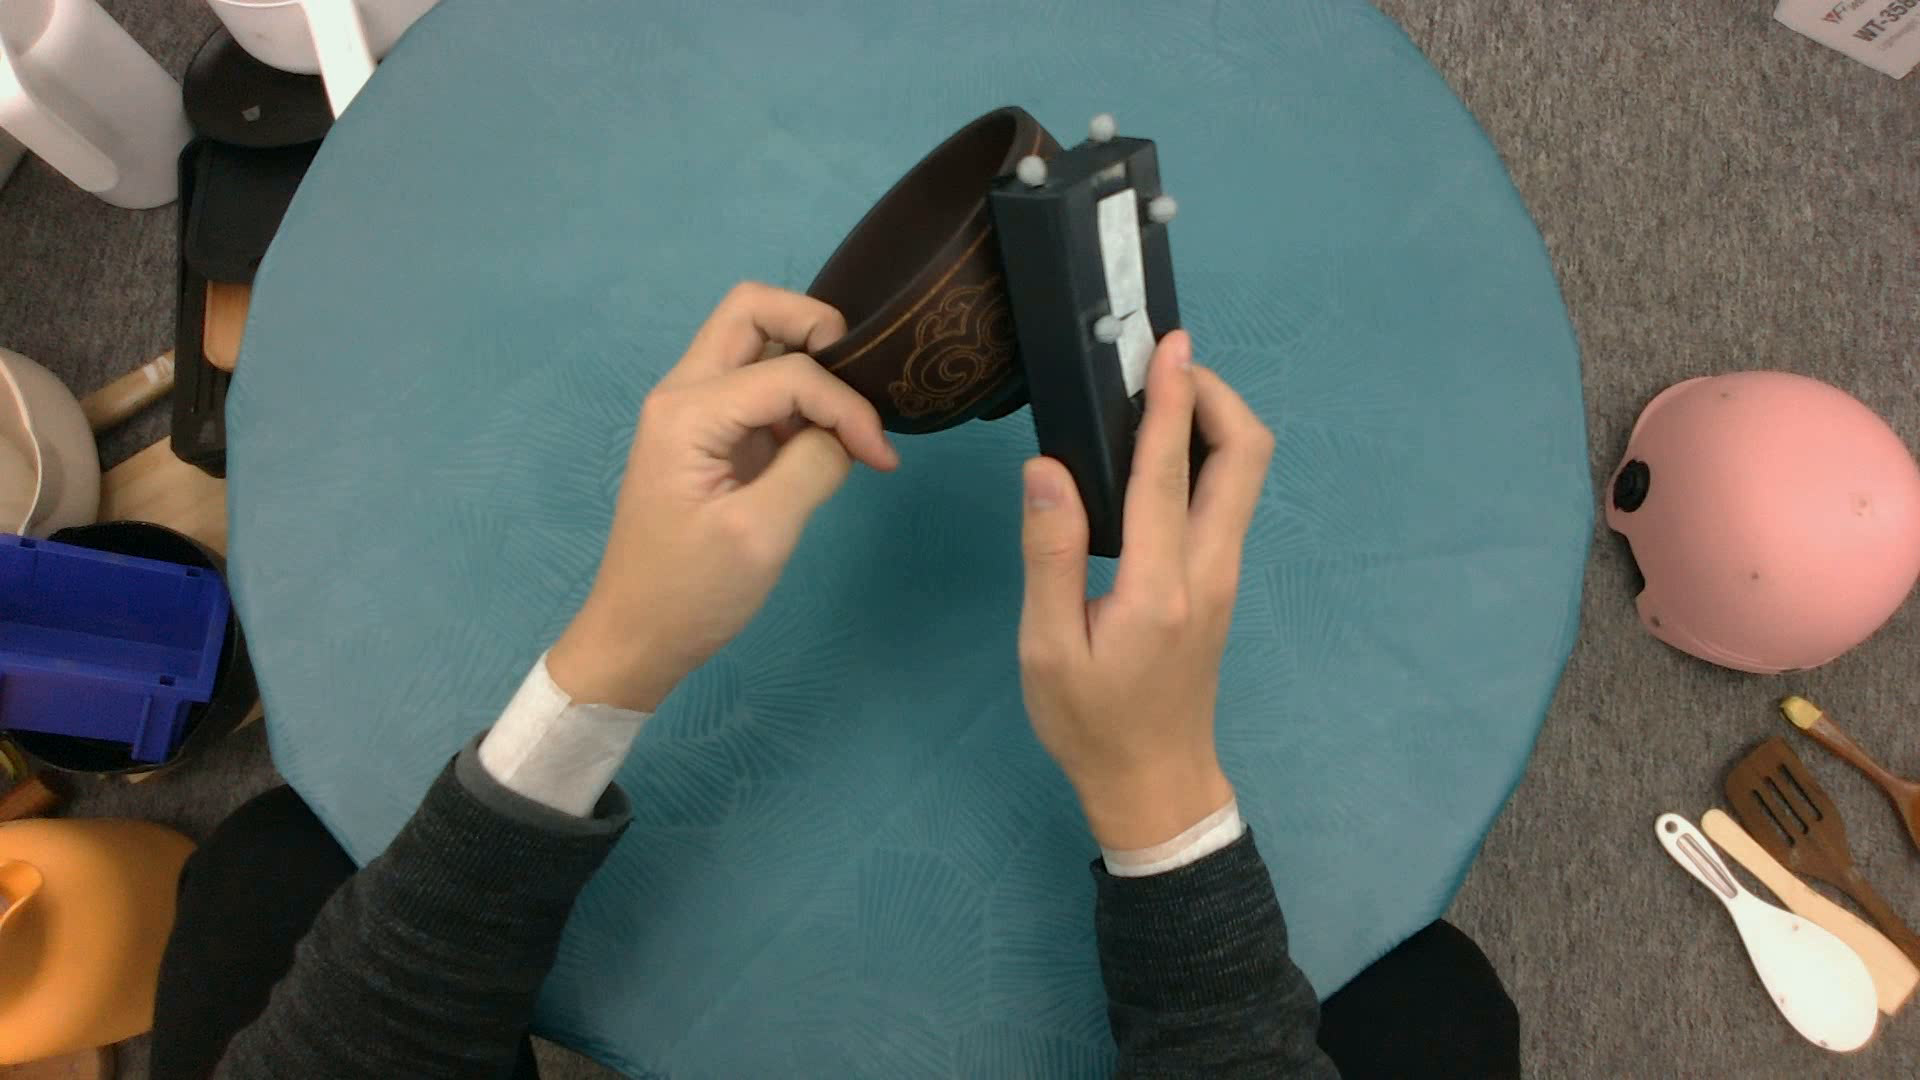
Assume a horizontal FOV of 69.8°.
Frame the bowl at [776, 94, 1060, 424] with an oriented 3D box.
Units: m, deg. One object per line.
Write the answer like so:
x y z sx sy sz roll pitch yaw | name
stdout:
0.000 -0.089 0.483 0.070 0.118 0.118 42 77 -28 | bowl

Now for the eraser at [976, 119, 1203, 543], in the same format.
0.044 -0.065 0.437 0.054 0.030 0.125 -35 125 -31 | eraser
